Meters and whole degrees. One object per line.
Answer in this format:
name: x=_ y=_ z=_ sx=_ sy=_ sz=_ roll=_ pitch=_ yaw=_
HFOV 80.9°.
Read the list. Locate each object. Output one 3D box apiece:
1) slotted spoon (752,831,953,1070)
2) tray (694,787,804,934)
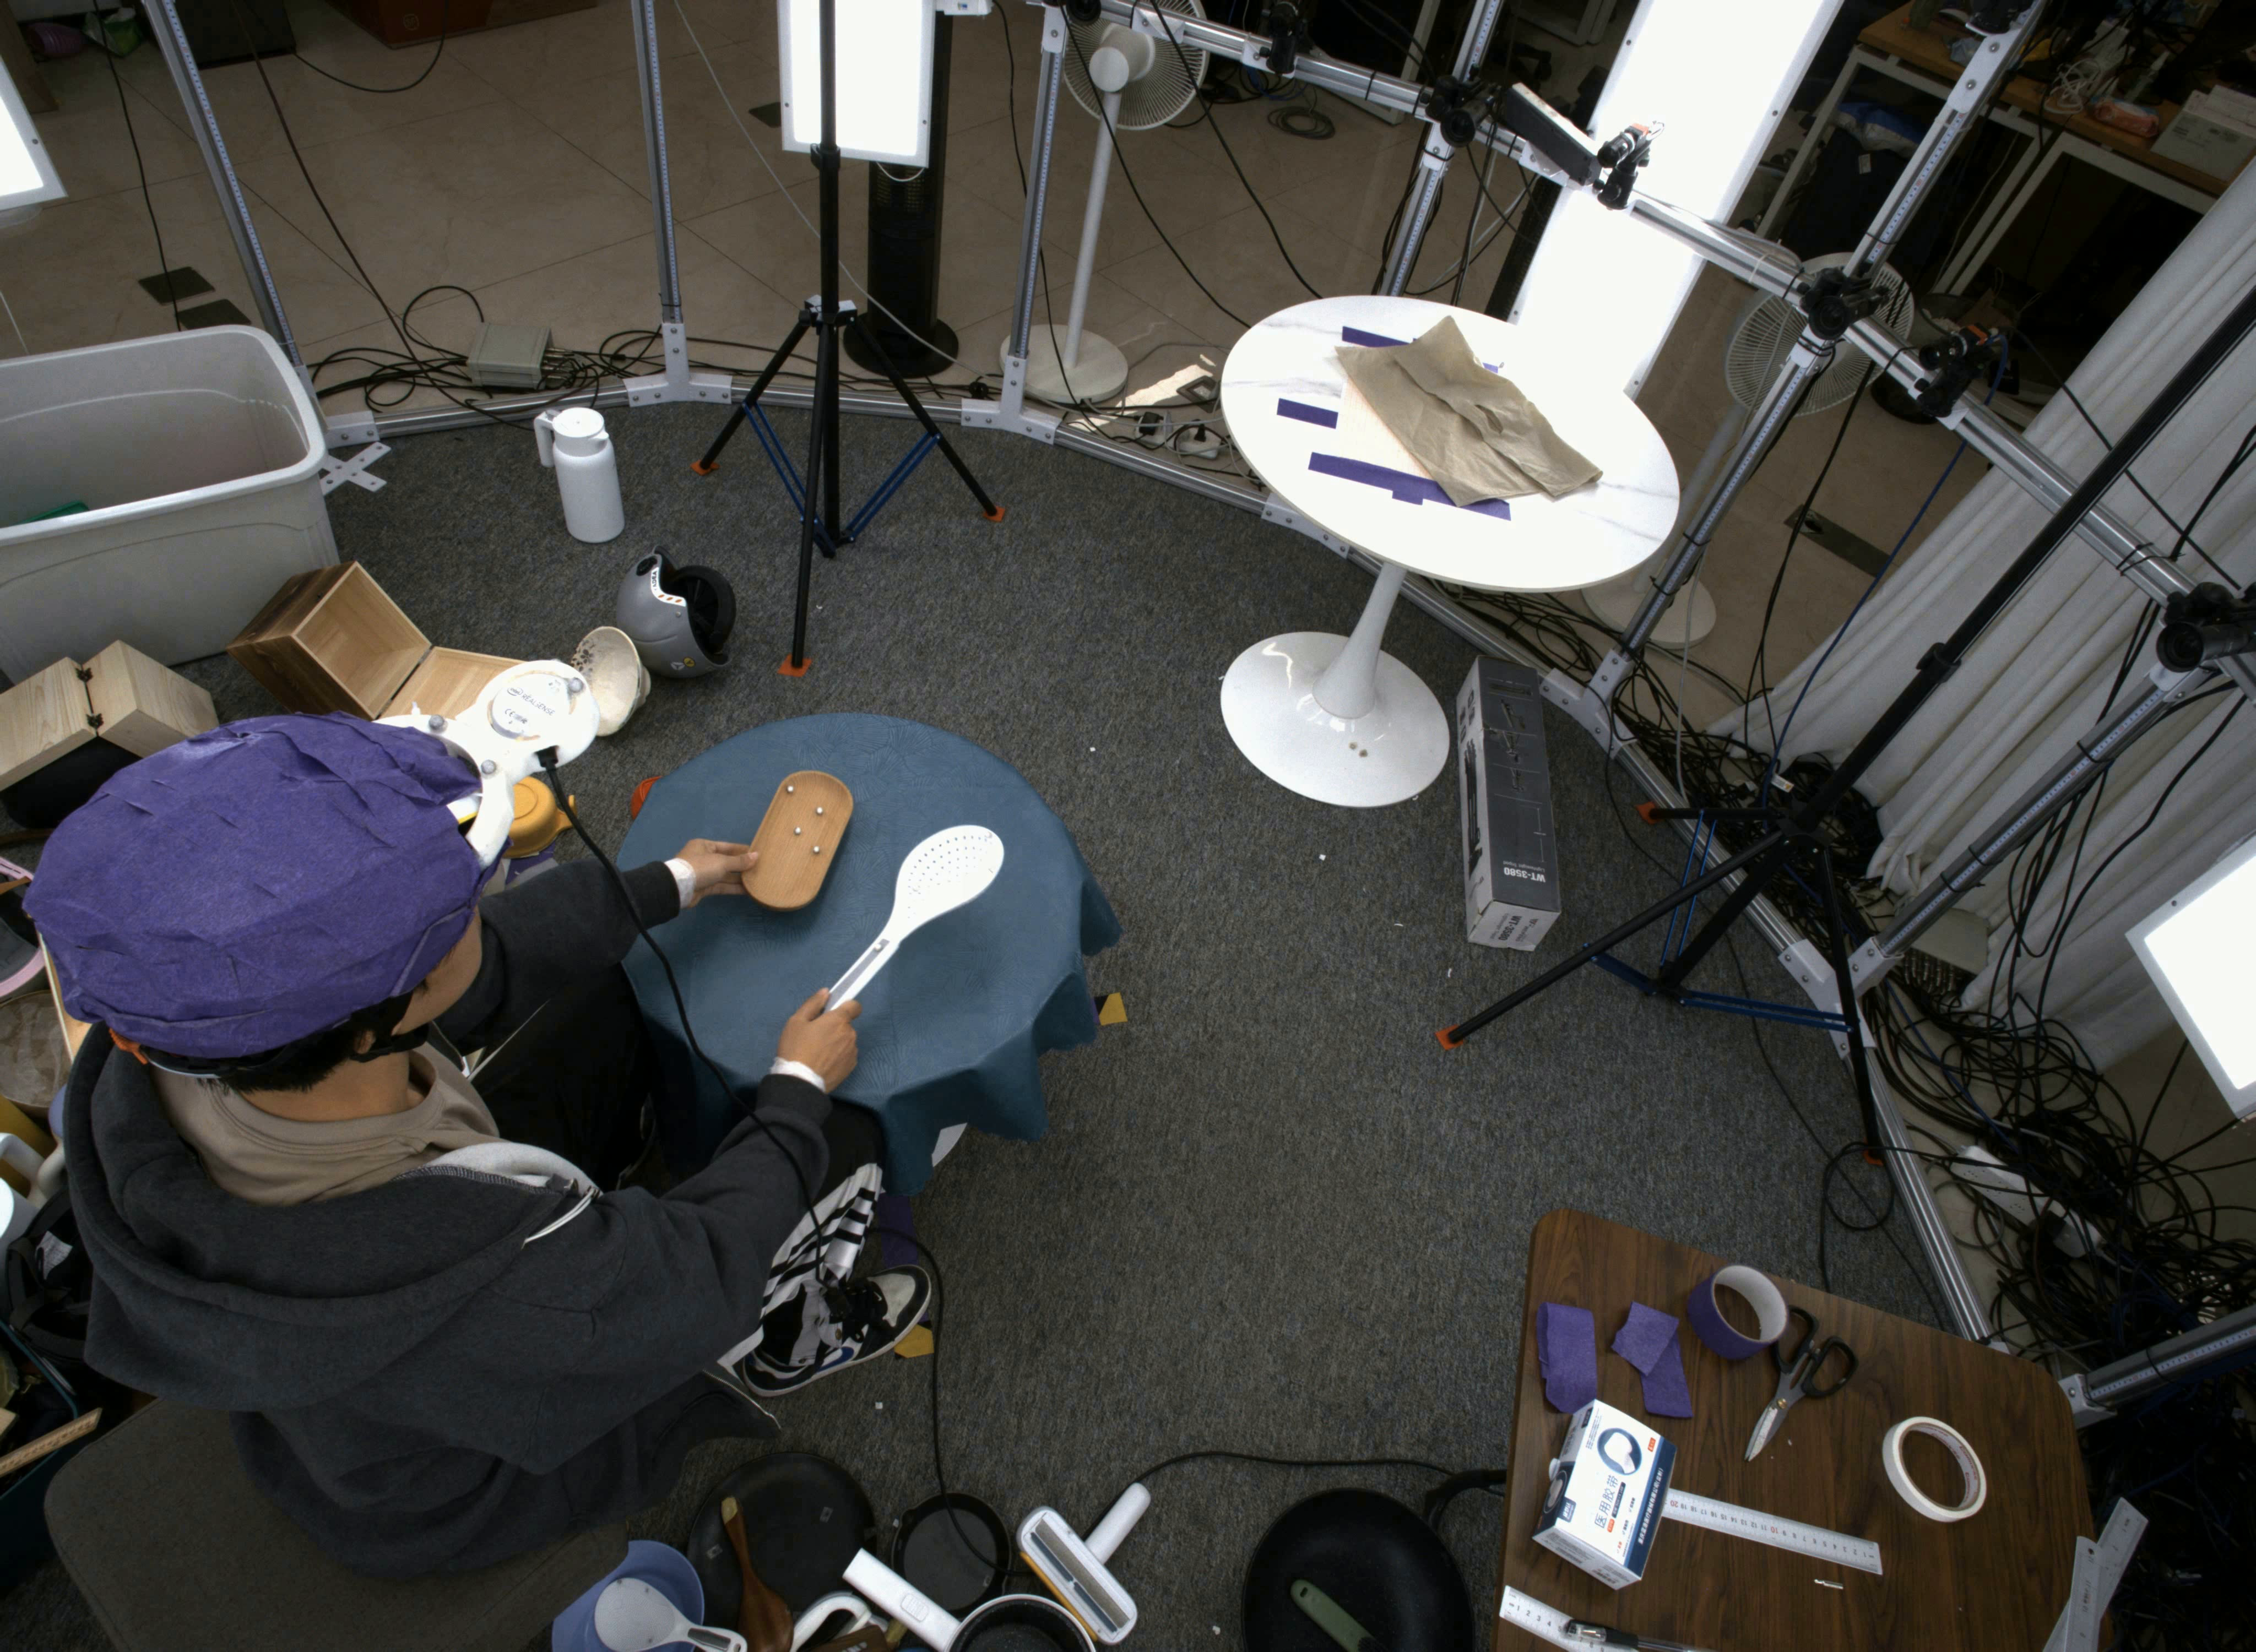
slotted spoon: x=-0.324 y=0.139 z=1.523 sx=0.131 sy=0.047 sz=0.349 roll=13 pitch=50 yaw=33
tray: x=-0.477 y=0.039 z=1.634 sx=0.102 sy=0.020 sz=0.227 roll=16 pitch=49 yaw=-12
